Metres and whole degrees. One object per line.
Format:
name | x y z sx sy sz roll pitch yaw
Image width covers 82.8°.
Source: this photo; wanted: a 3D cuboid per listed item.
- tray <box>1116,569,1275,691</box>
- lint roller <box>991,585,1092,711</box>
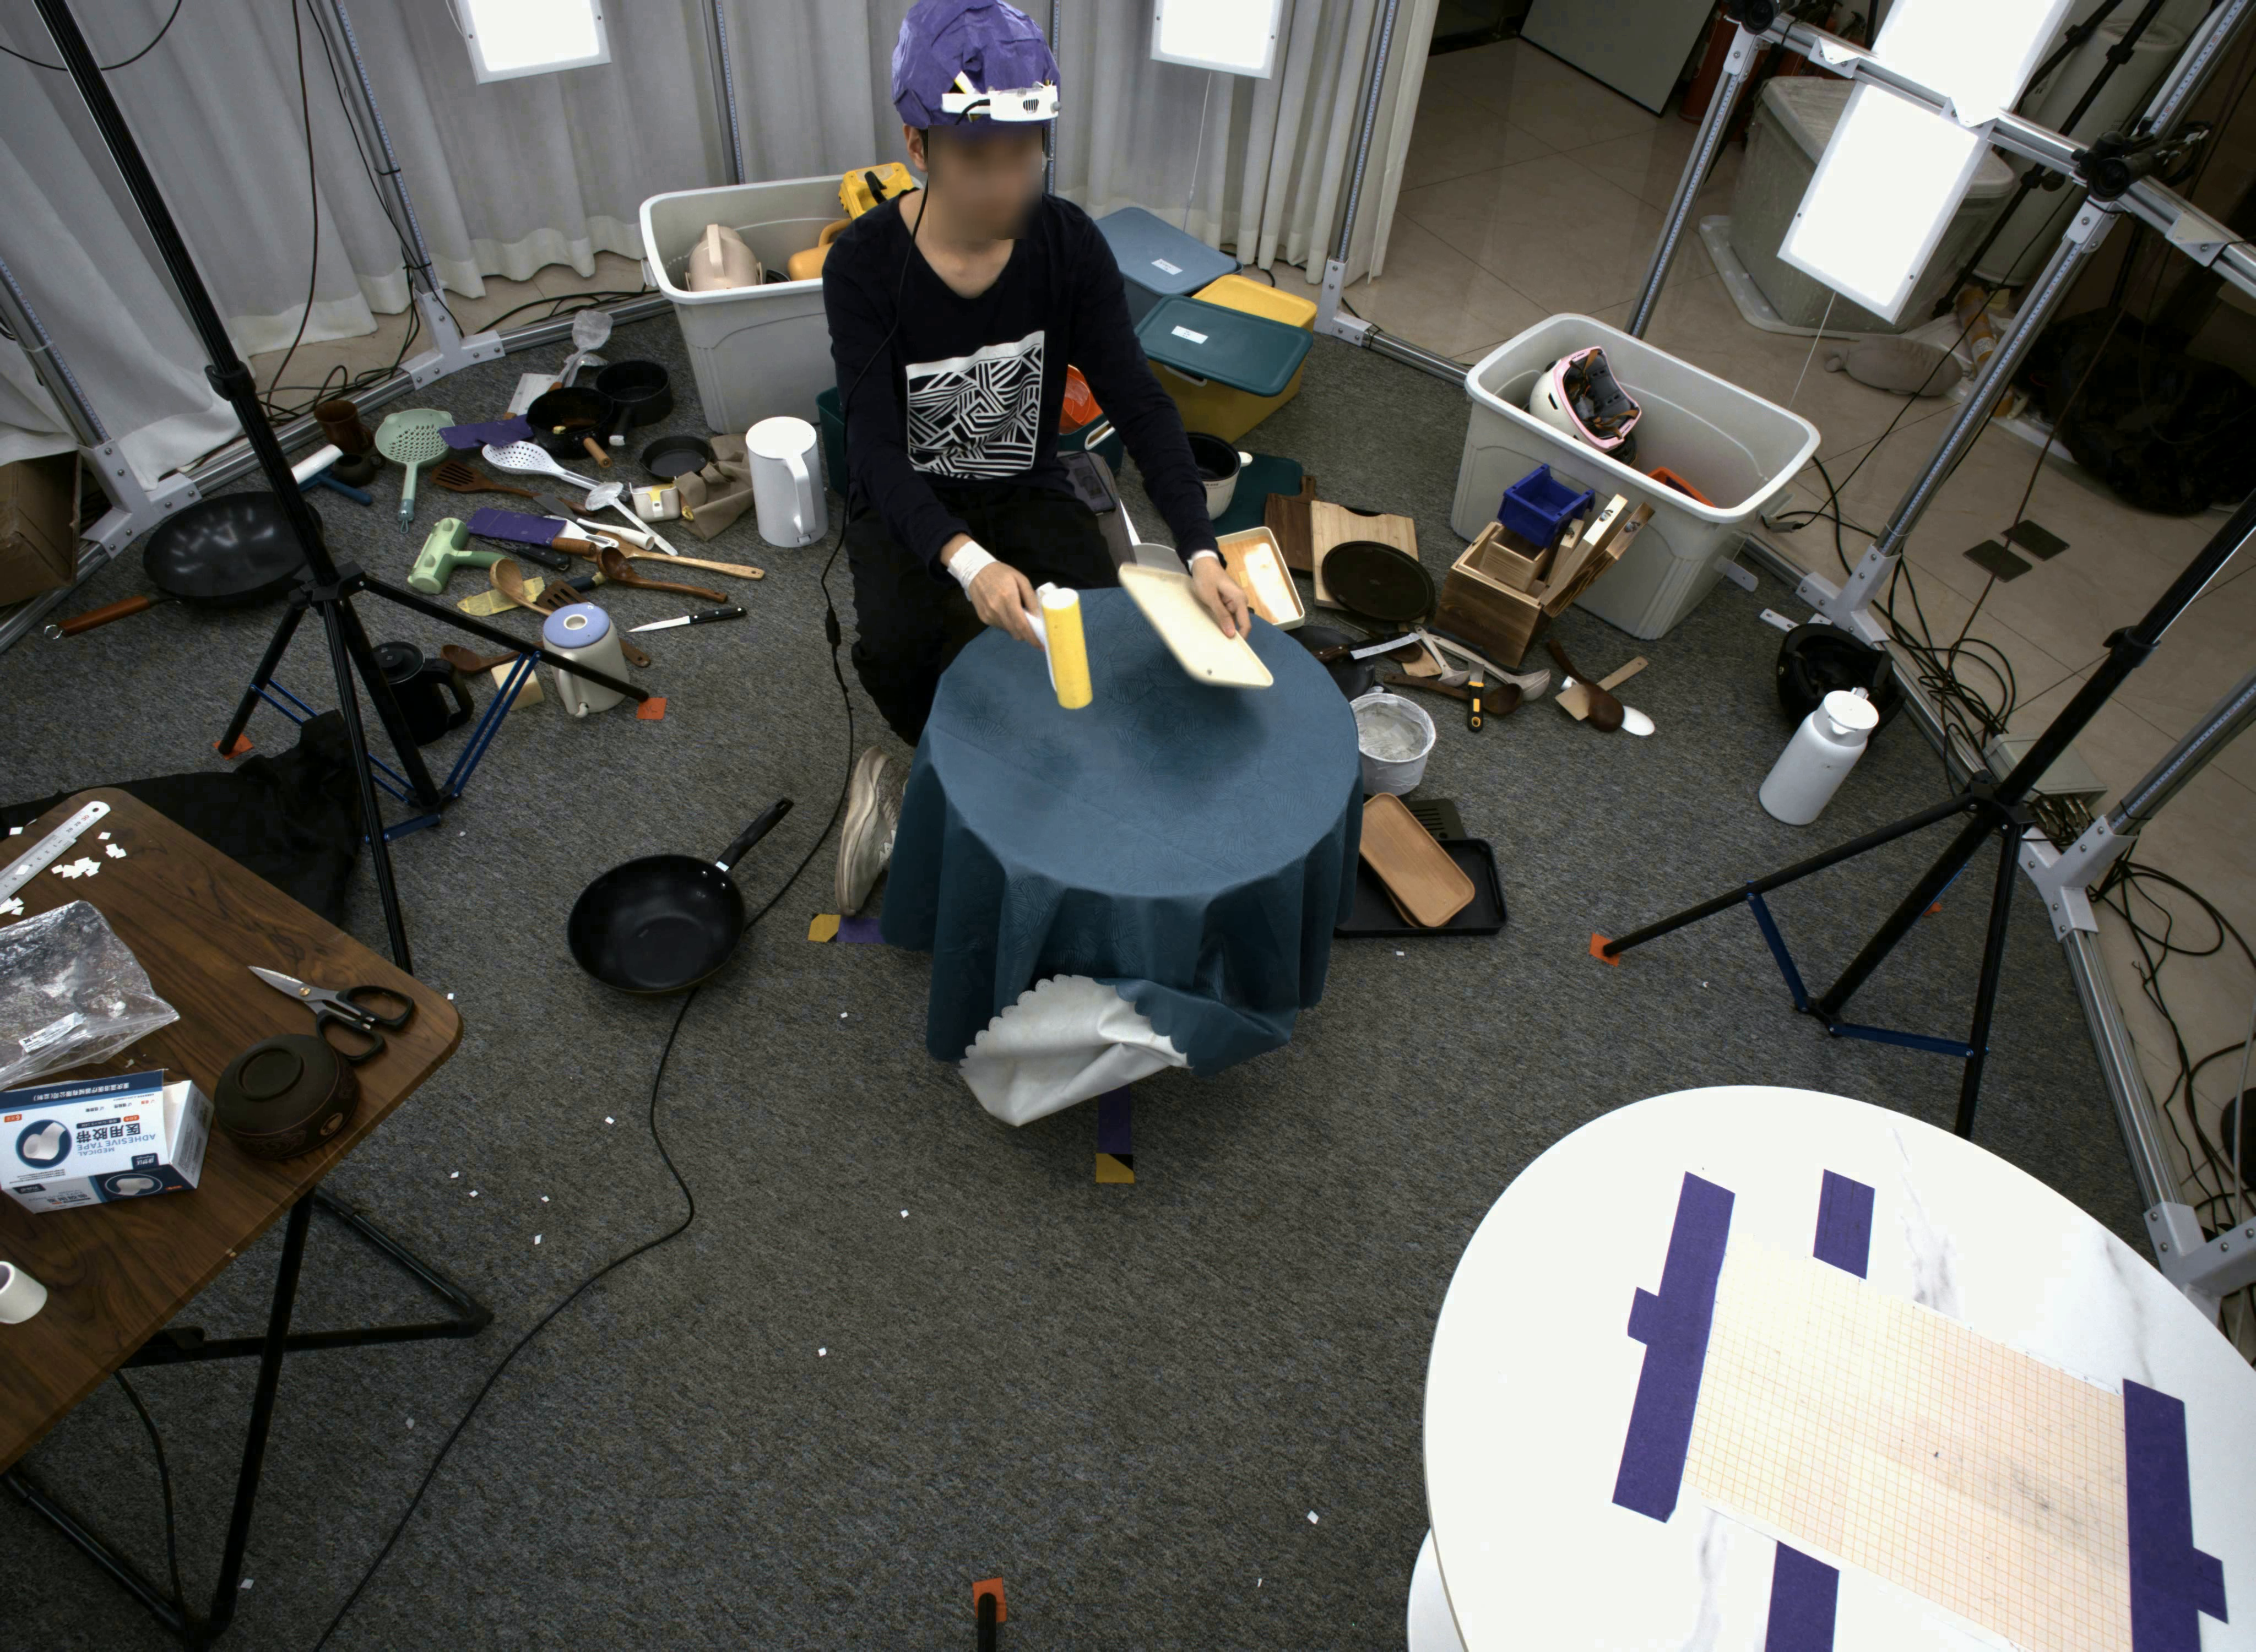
tray | 0.091 -0.271 1.787 0.170 0.017 0.244 -3 48 -42
lint roller | -0.130 -0.256 1.712 0.195 0.170 0.052 29 53 36
